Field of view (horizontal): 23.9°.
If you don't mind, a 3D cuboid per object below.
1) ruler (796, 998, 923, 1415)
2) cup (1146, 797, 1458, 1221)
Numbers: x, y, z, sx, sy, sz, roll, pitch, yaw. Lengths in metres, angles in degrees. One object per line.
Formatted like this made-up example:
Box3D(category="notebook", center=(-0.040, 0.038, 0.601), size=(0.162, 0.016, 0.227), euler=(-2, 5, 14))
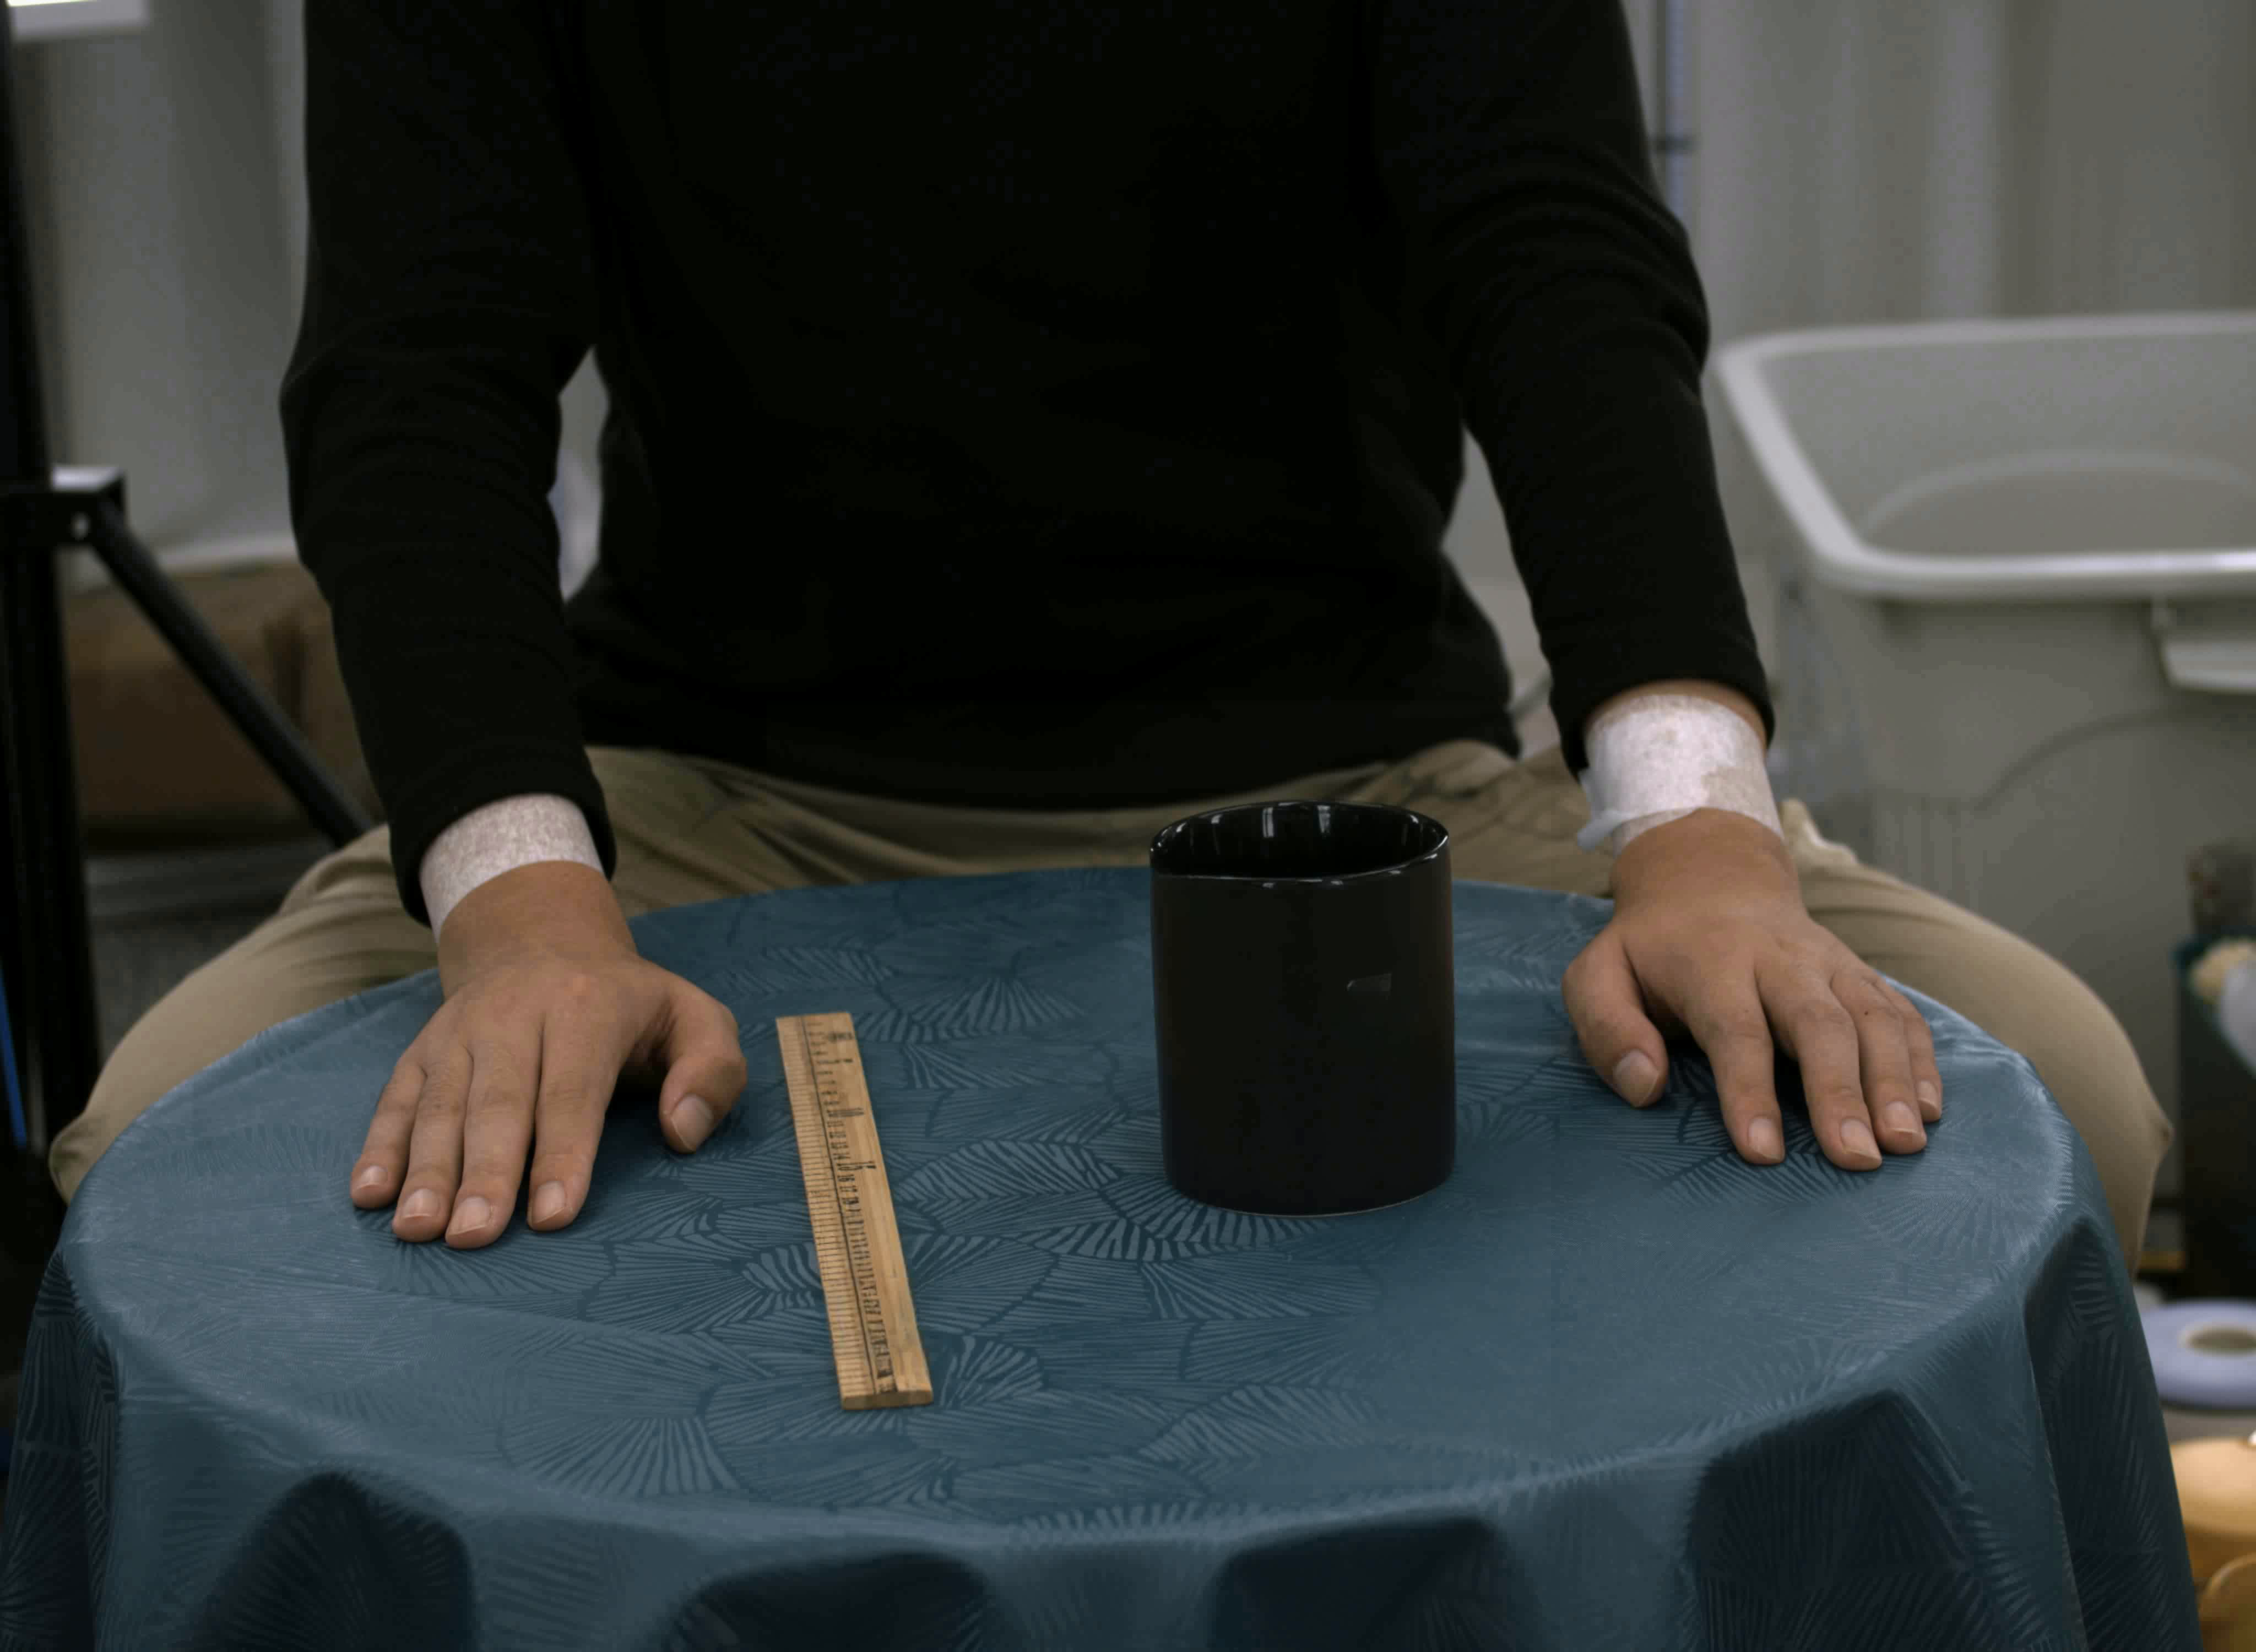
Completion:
Box3D(category="ruler", center=(-0.081, 0.104, 1.564), size=(0.027, 0.022, 0.334), euler=(1, 16, -6))
Box3D(category="cup", center=(0.049, 0.049, 1.573), size=(0.088, 0.105, 0.124), euler=(-5, 15, -5))
